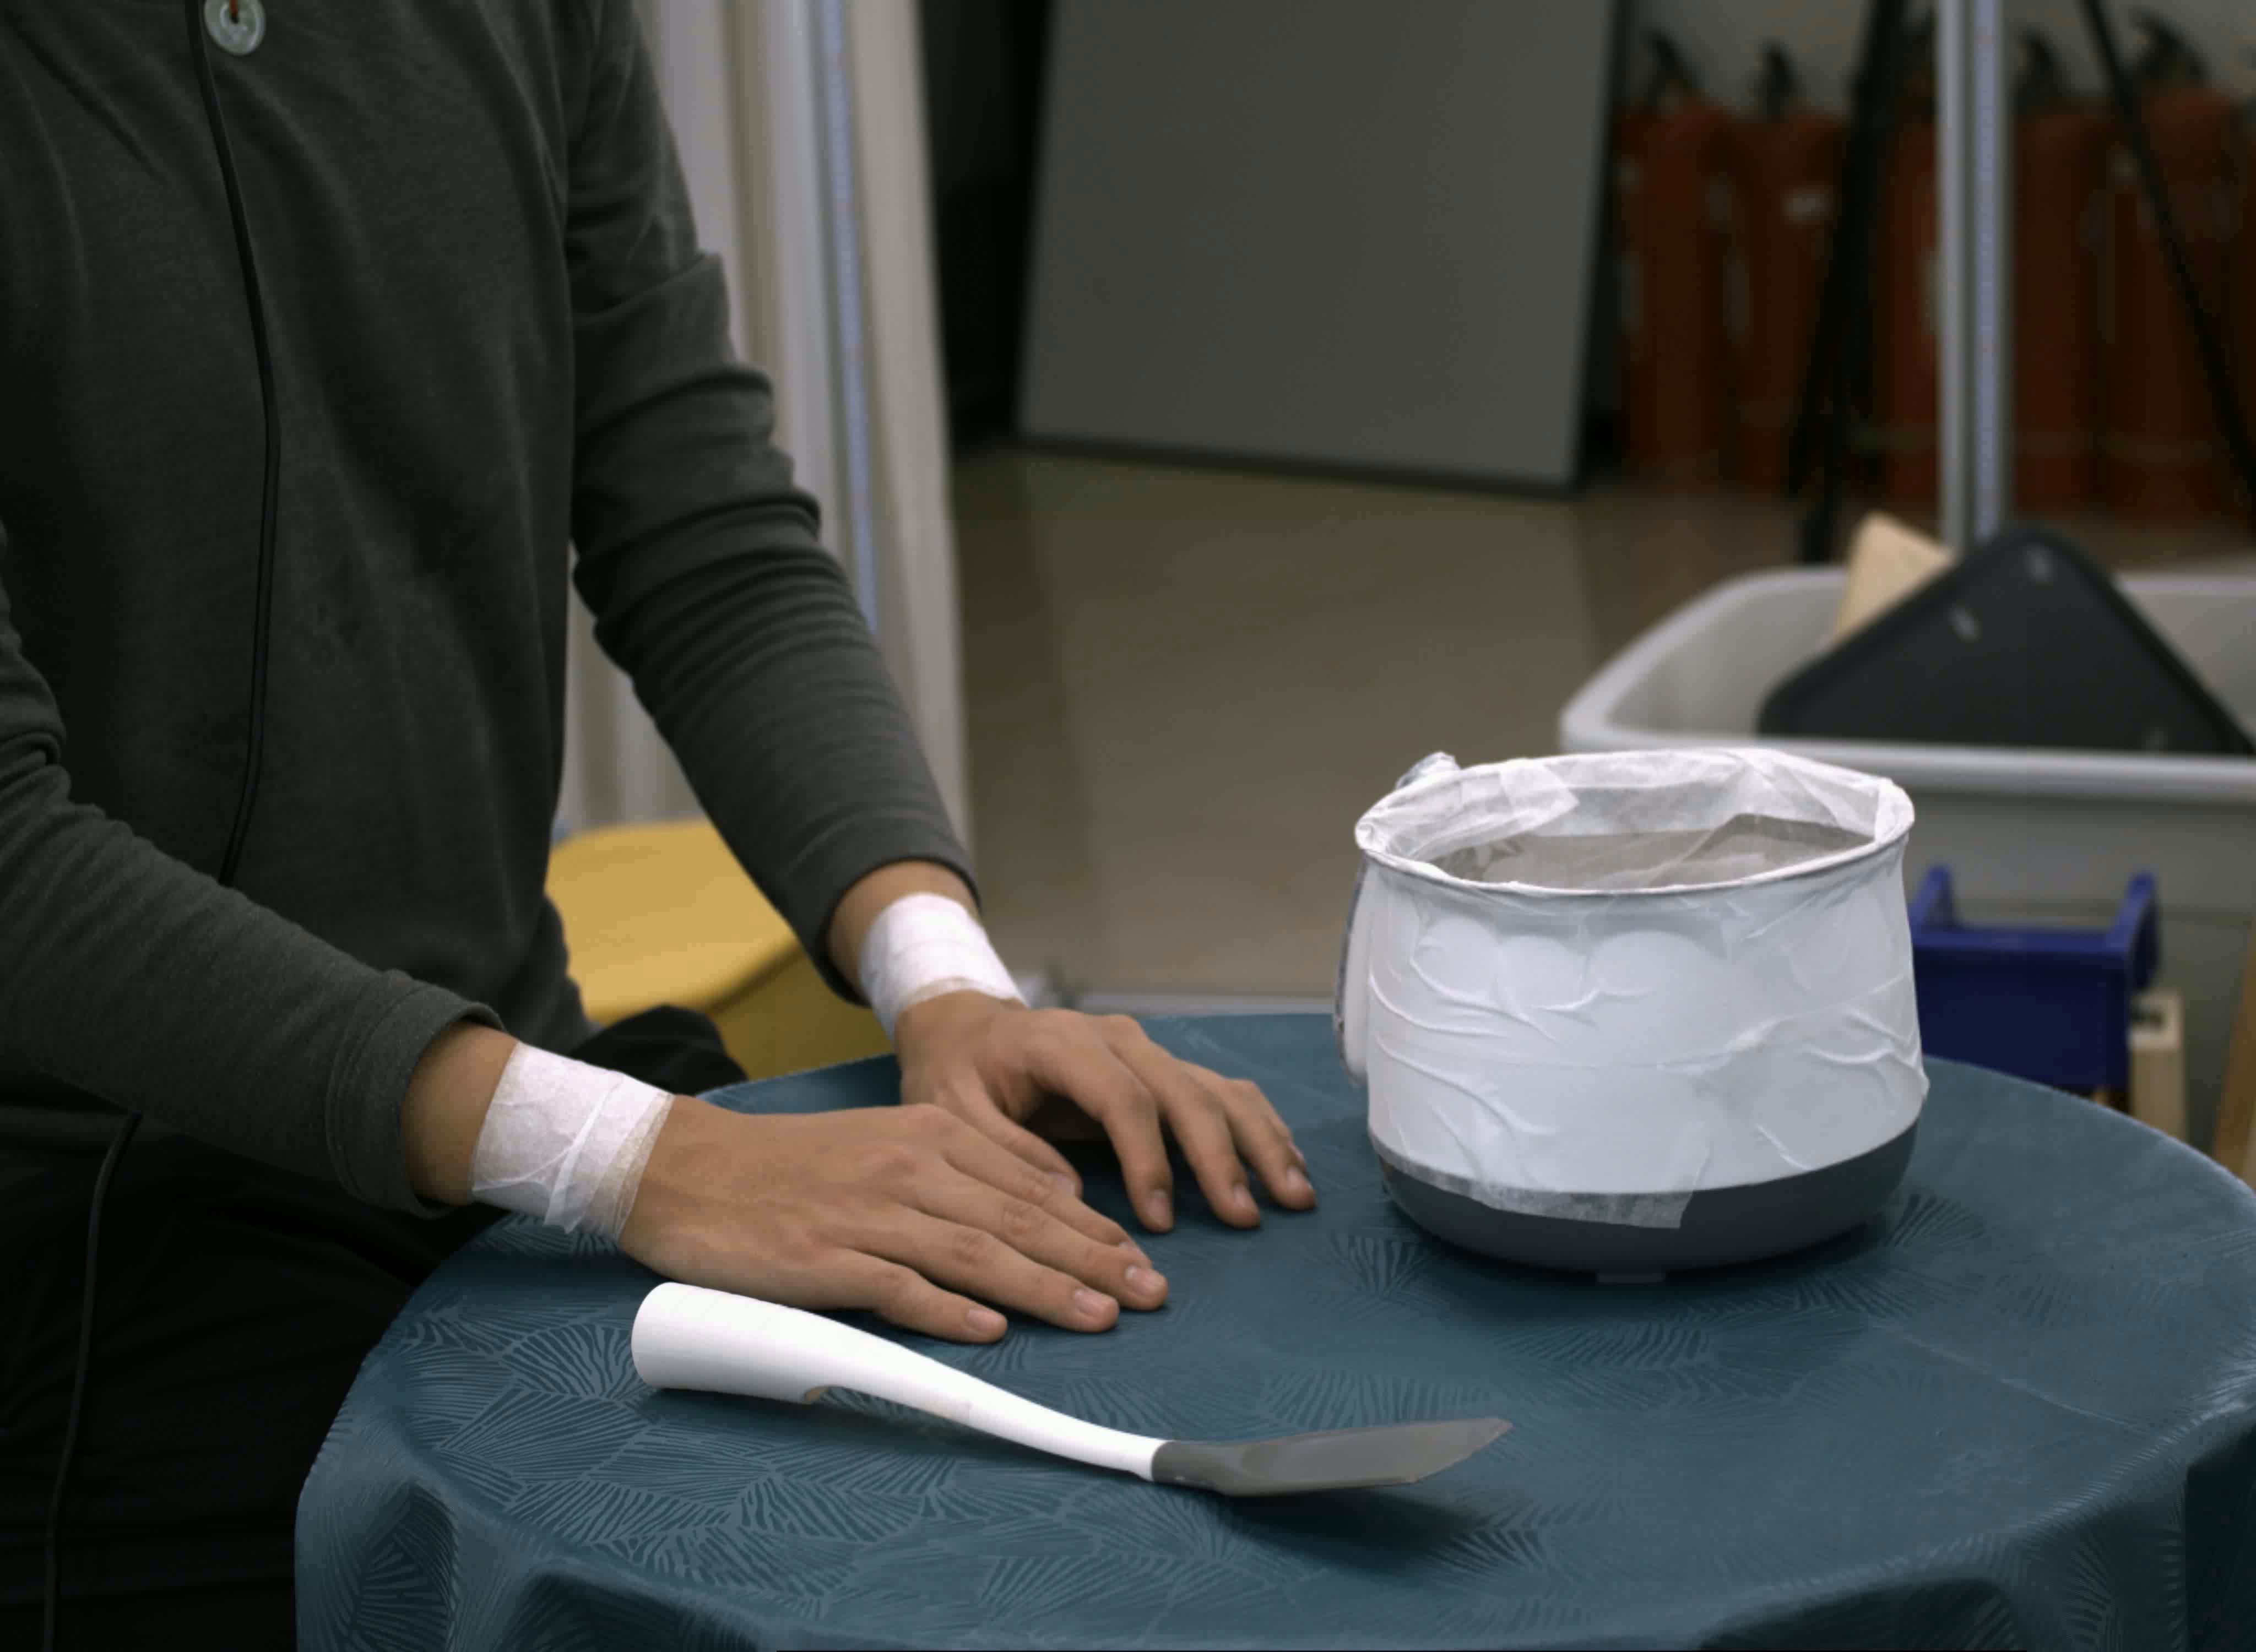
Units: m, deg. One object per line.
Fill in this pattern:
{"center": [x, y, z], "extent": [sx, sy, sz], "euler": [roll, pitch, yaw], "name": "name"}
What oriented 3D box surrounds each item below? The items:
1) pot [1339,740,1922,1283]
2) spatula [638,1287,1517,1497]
{"center": [0.146, 0.052, 1.722], "extent": [0.175, 0.138, 0.236], "euler": [-13, 16, -34], "name": "pot"}
{"center": [-0.020, 0.164, 1.530], "extent": [0.289, 0.032, 0.057], "euler": [5, 13, 36], "name": "spatula"}
